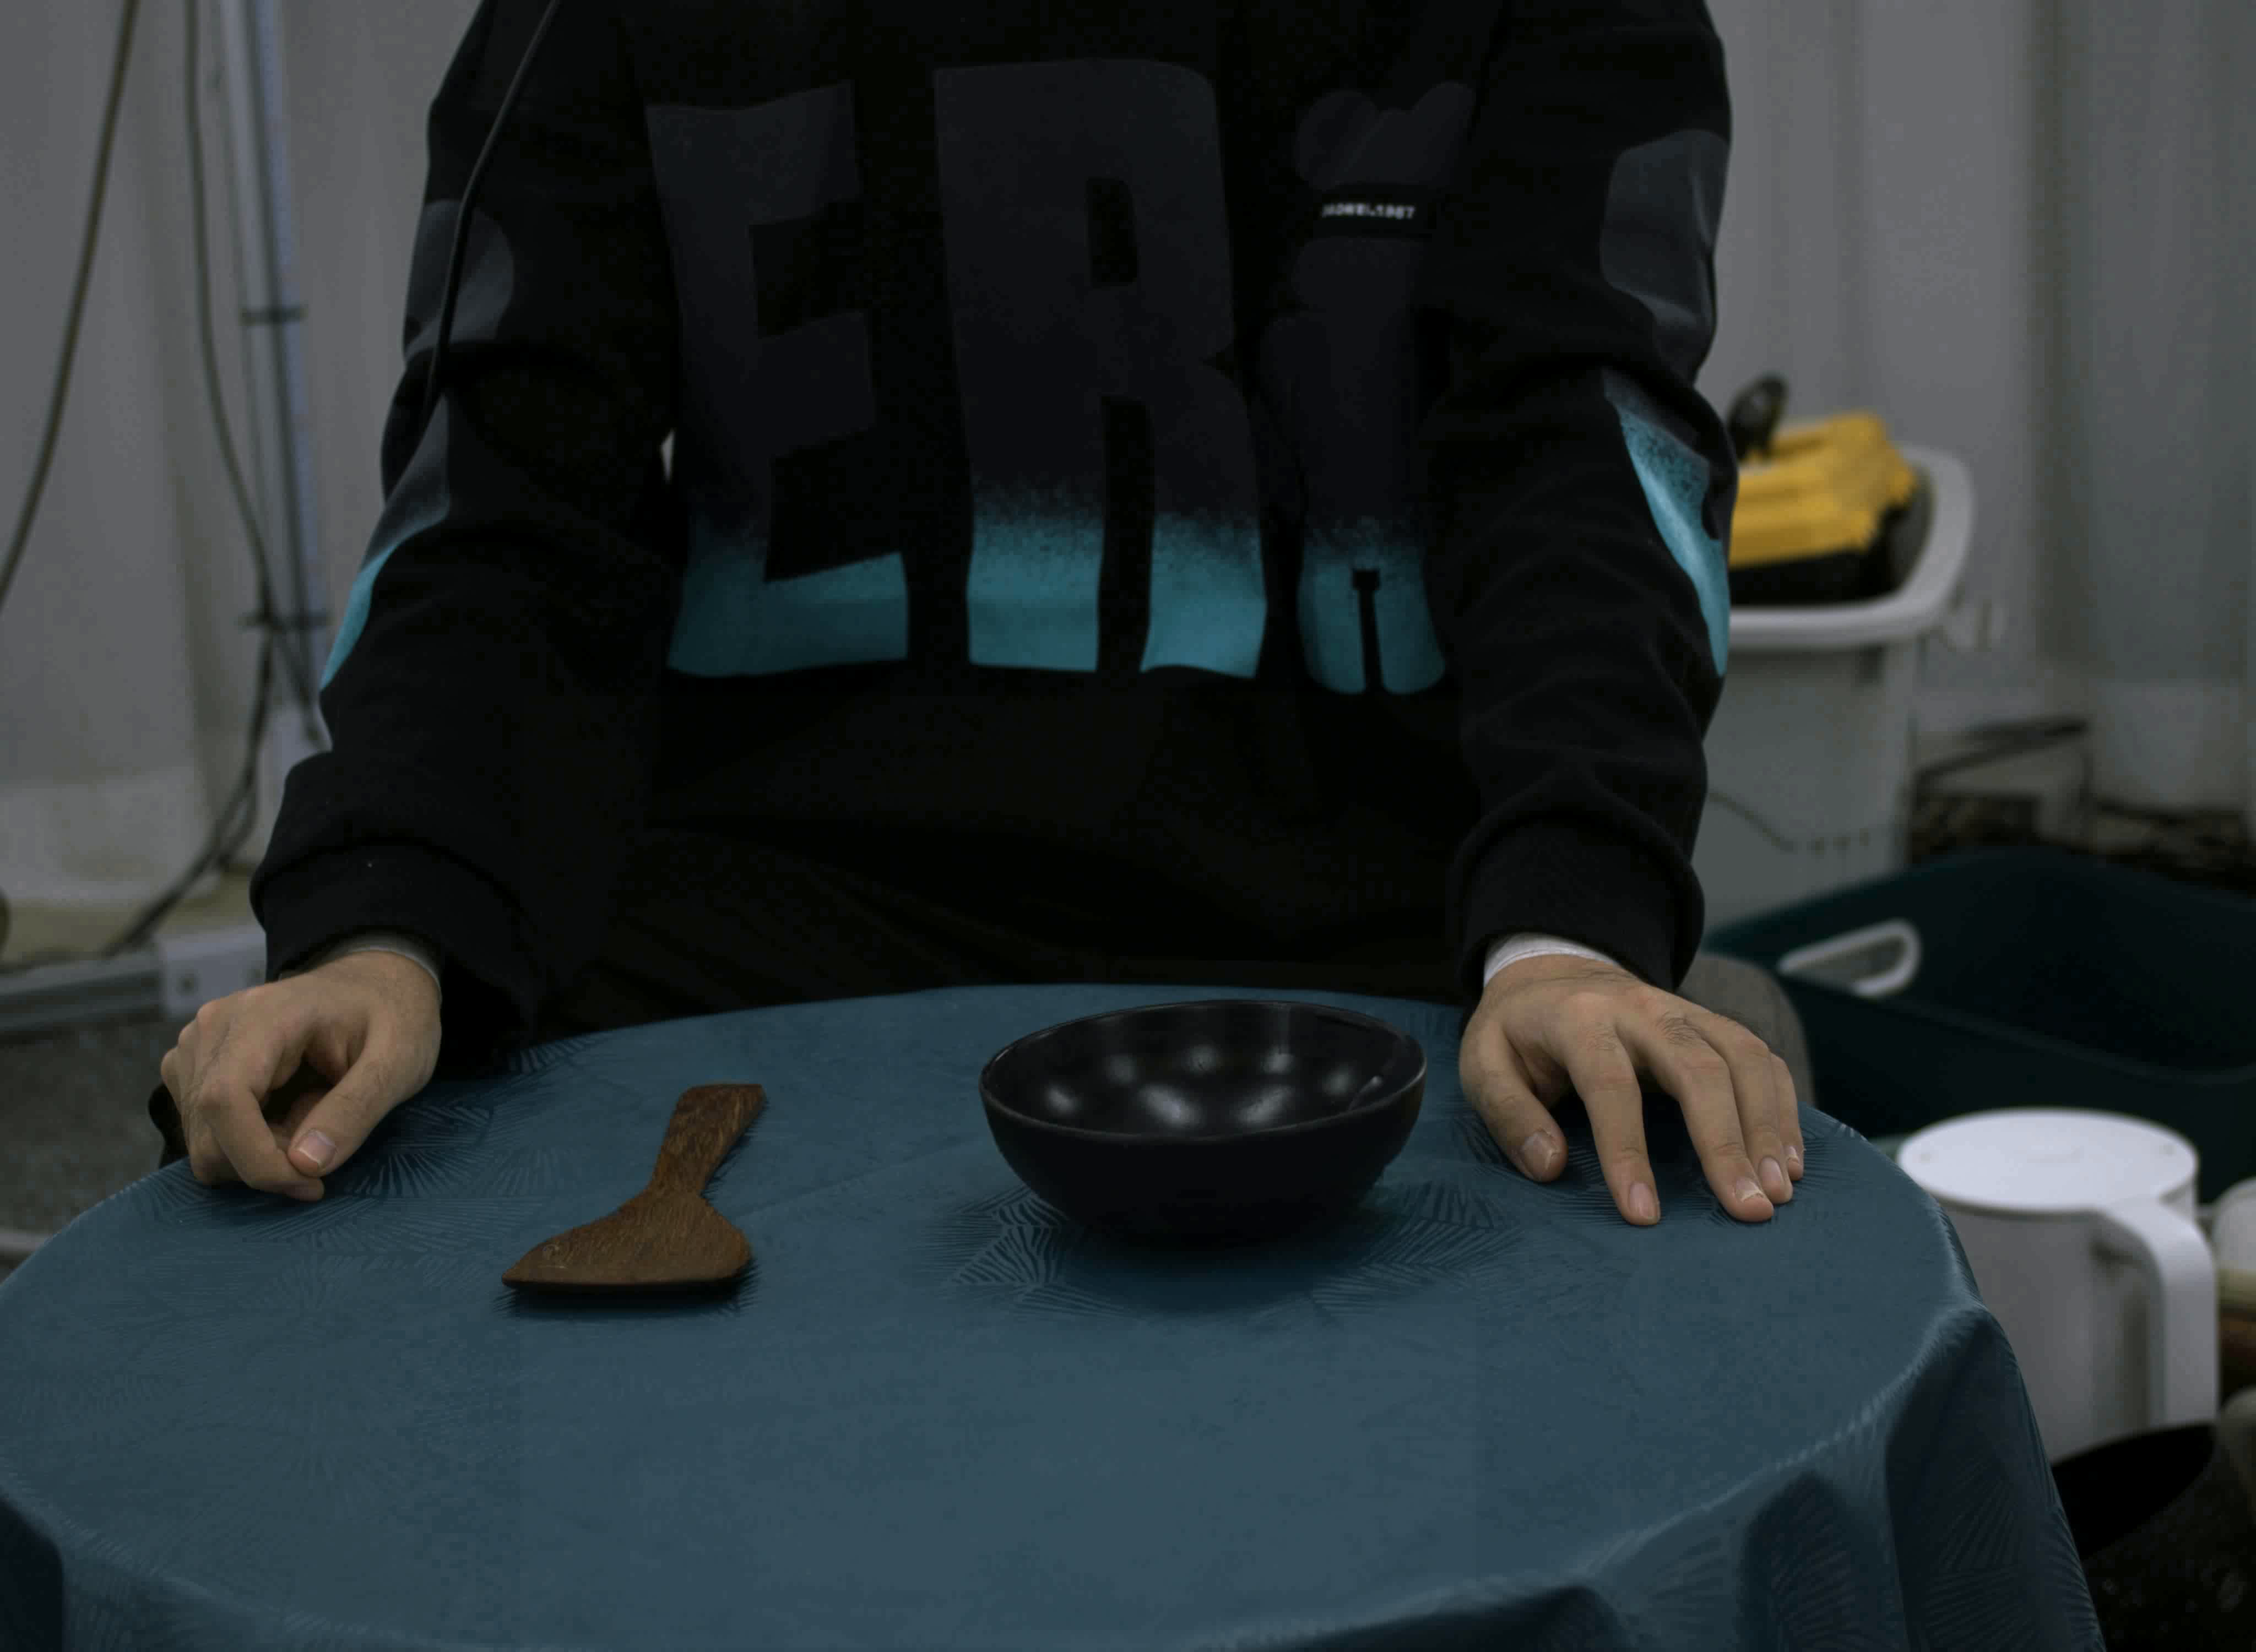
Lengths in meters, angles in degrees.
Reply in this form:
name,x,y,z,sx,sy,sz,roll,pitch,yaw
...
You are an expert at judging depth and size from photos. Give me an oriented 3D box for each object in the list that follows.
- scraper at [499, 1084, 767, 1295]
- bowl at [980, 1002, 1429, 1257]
name,x,y,z,sx,sy,sz,roll,pitch,yaw
scraper,-0.143,0.114,1.728,0.075,0.011,0.212,0,14,6
bowl,0.026,0.098,1.682,0.139,0.049,0.141,-5,14,1
